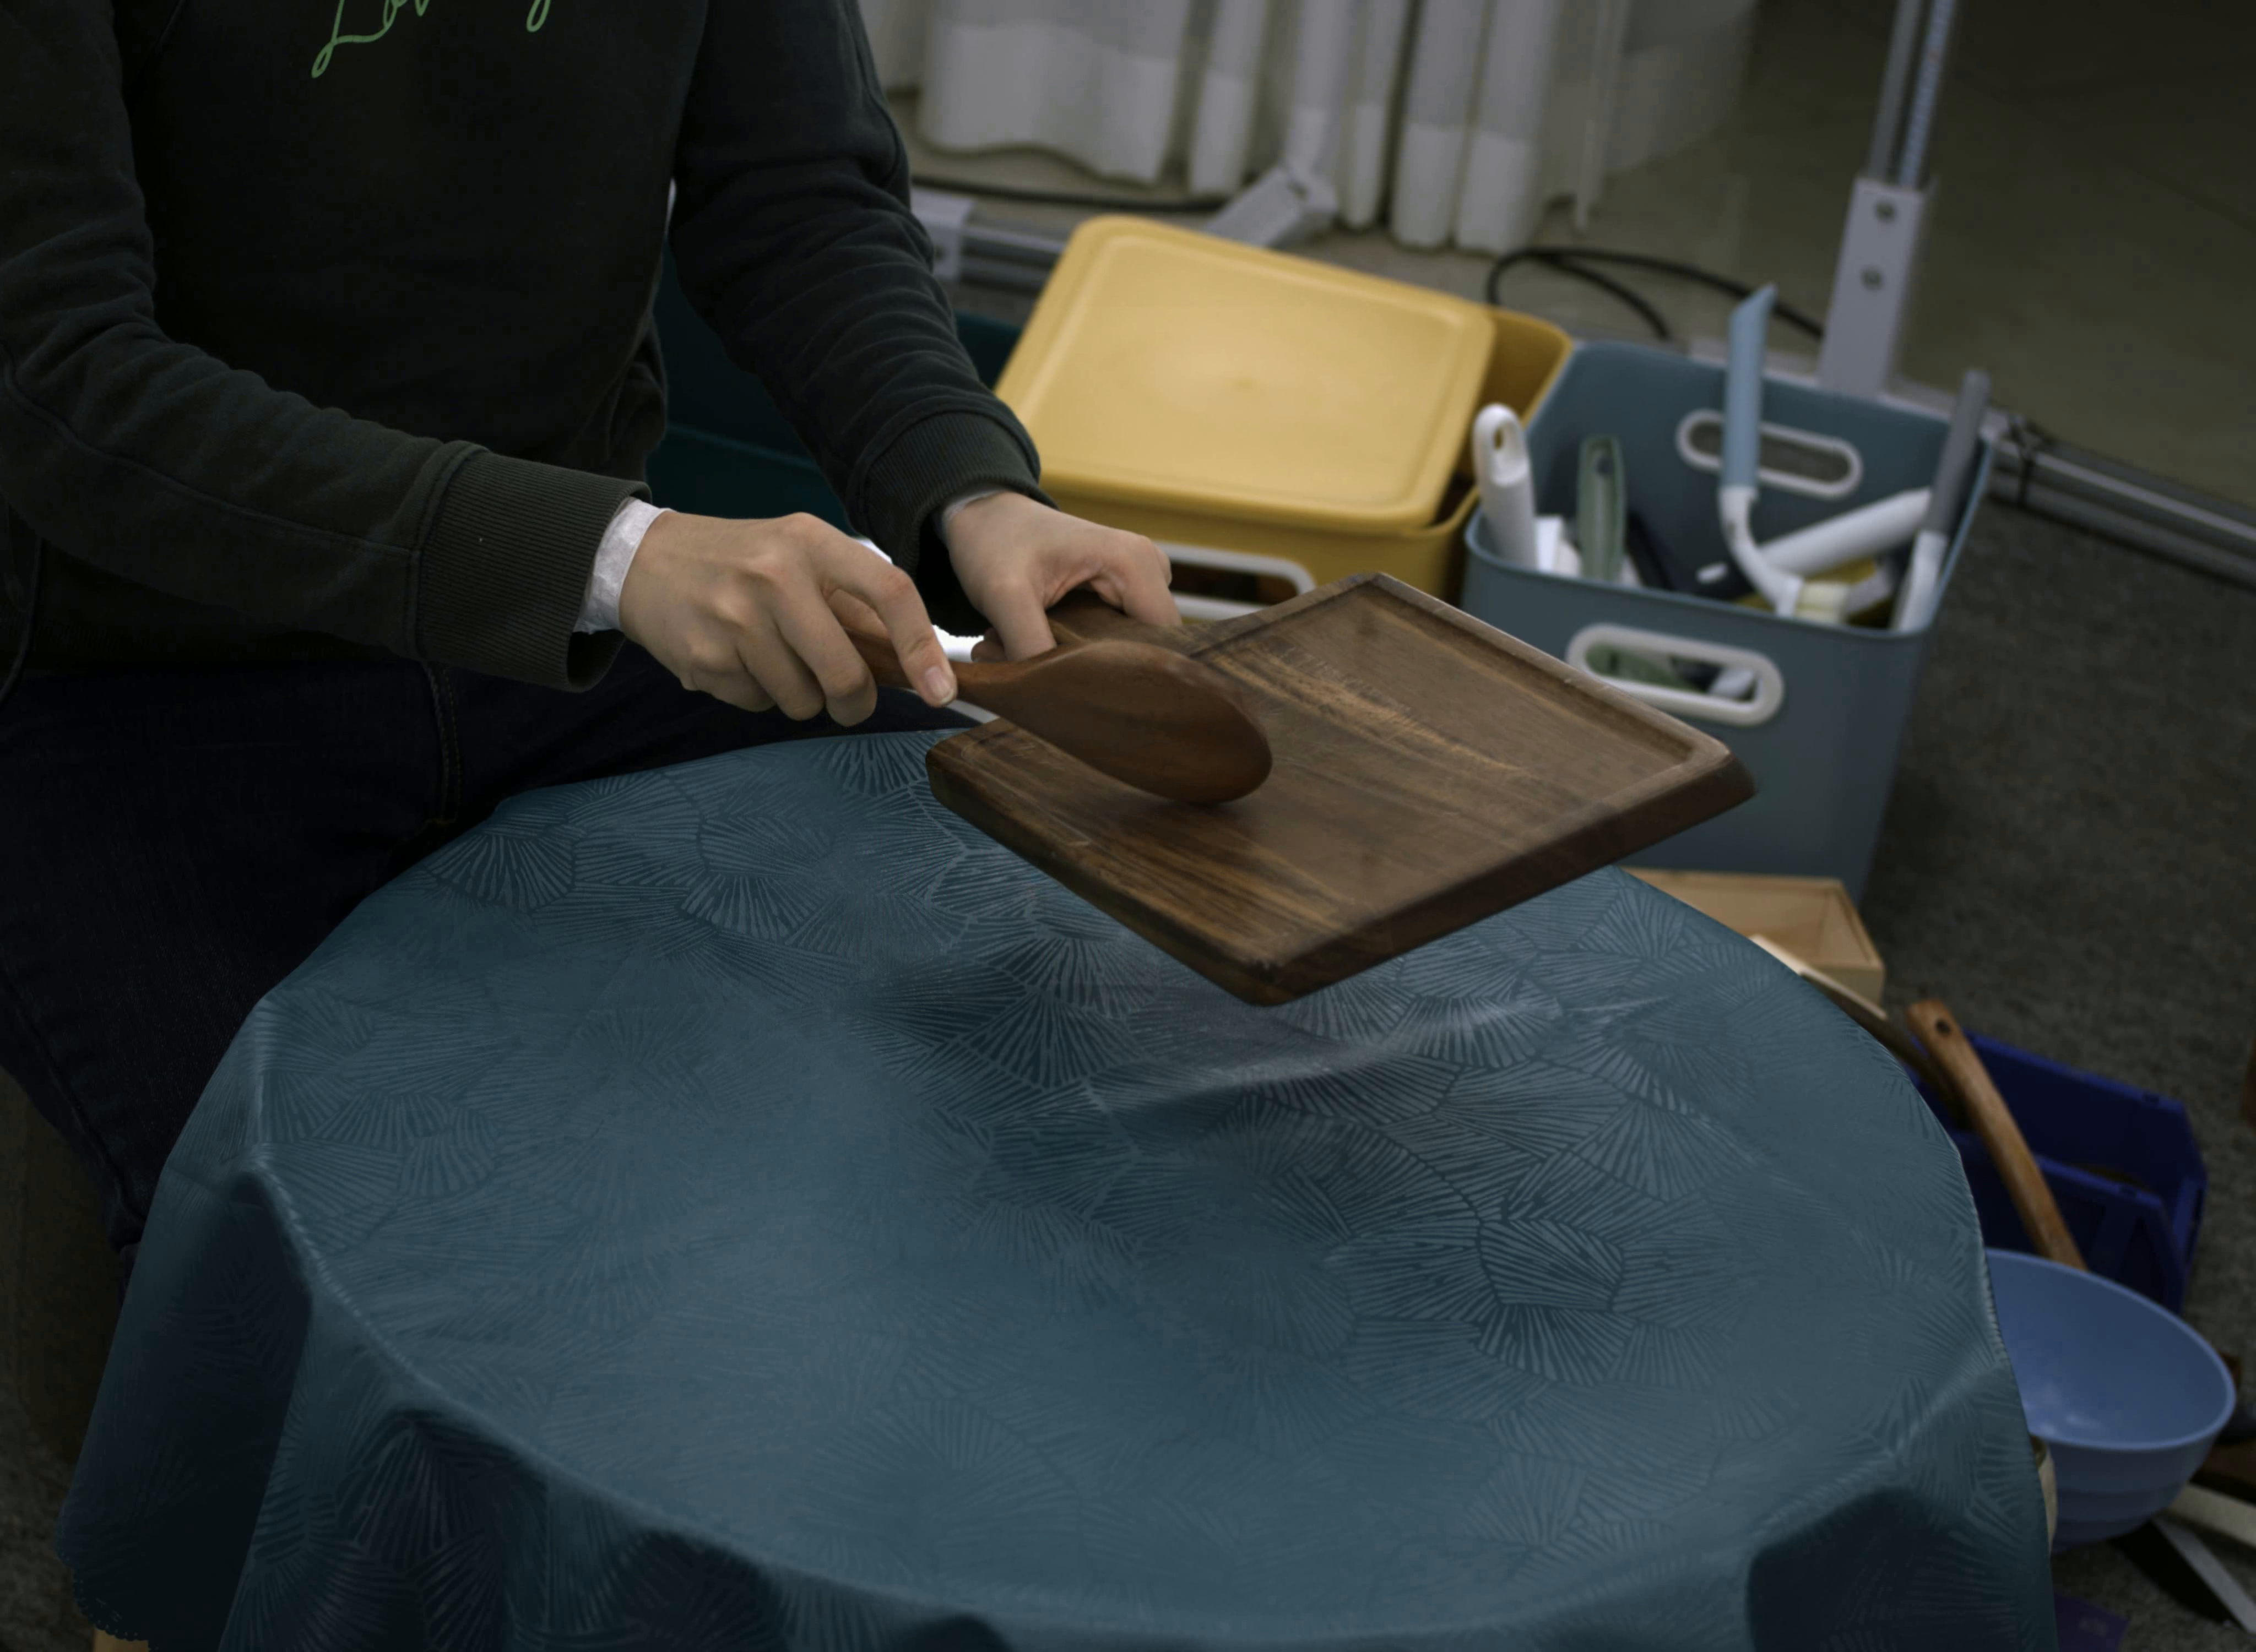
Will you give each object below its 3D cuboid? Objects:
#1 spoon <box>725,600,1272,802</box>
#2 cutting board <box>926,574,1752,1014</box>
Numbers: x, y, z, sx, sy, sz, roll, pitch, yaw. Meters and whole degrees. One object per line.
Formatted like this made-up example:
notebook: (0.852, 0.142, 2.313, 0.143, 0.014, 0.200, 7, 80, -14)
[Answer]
spoon: (-0.048, -0.046, 1.843, 0.217, 0.075, 0.017, 15, 57, 27)
cutting board: (0.045, -0.031, 1.889, 0.200, 0.023, 0.355, -24, 26, -20)
